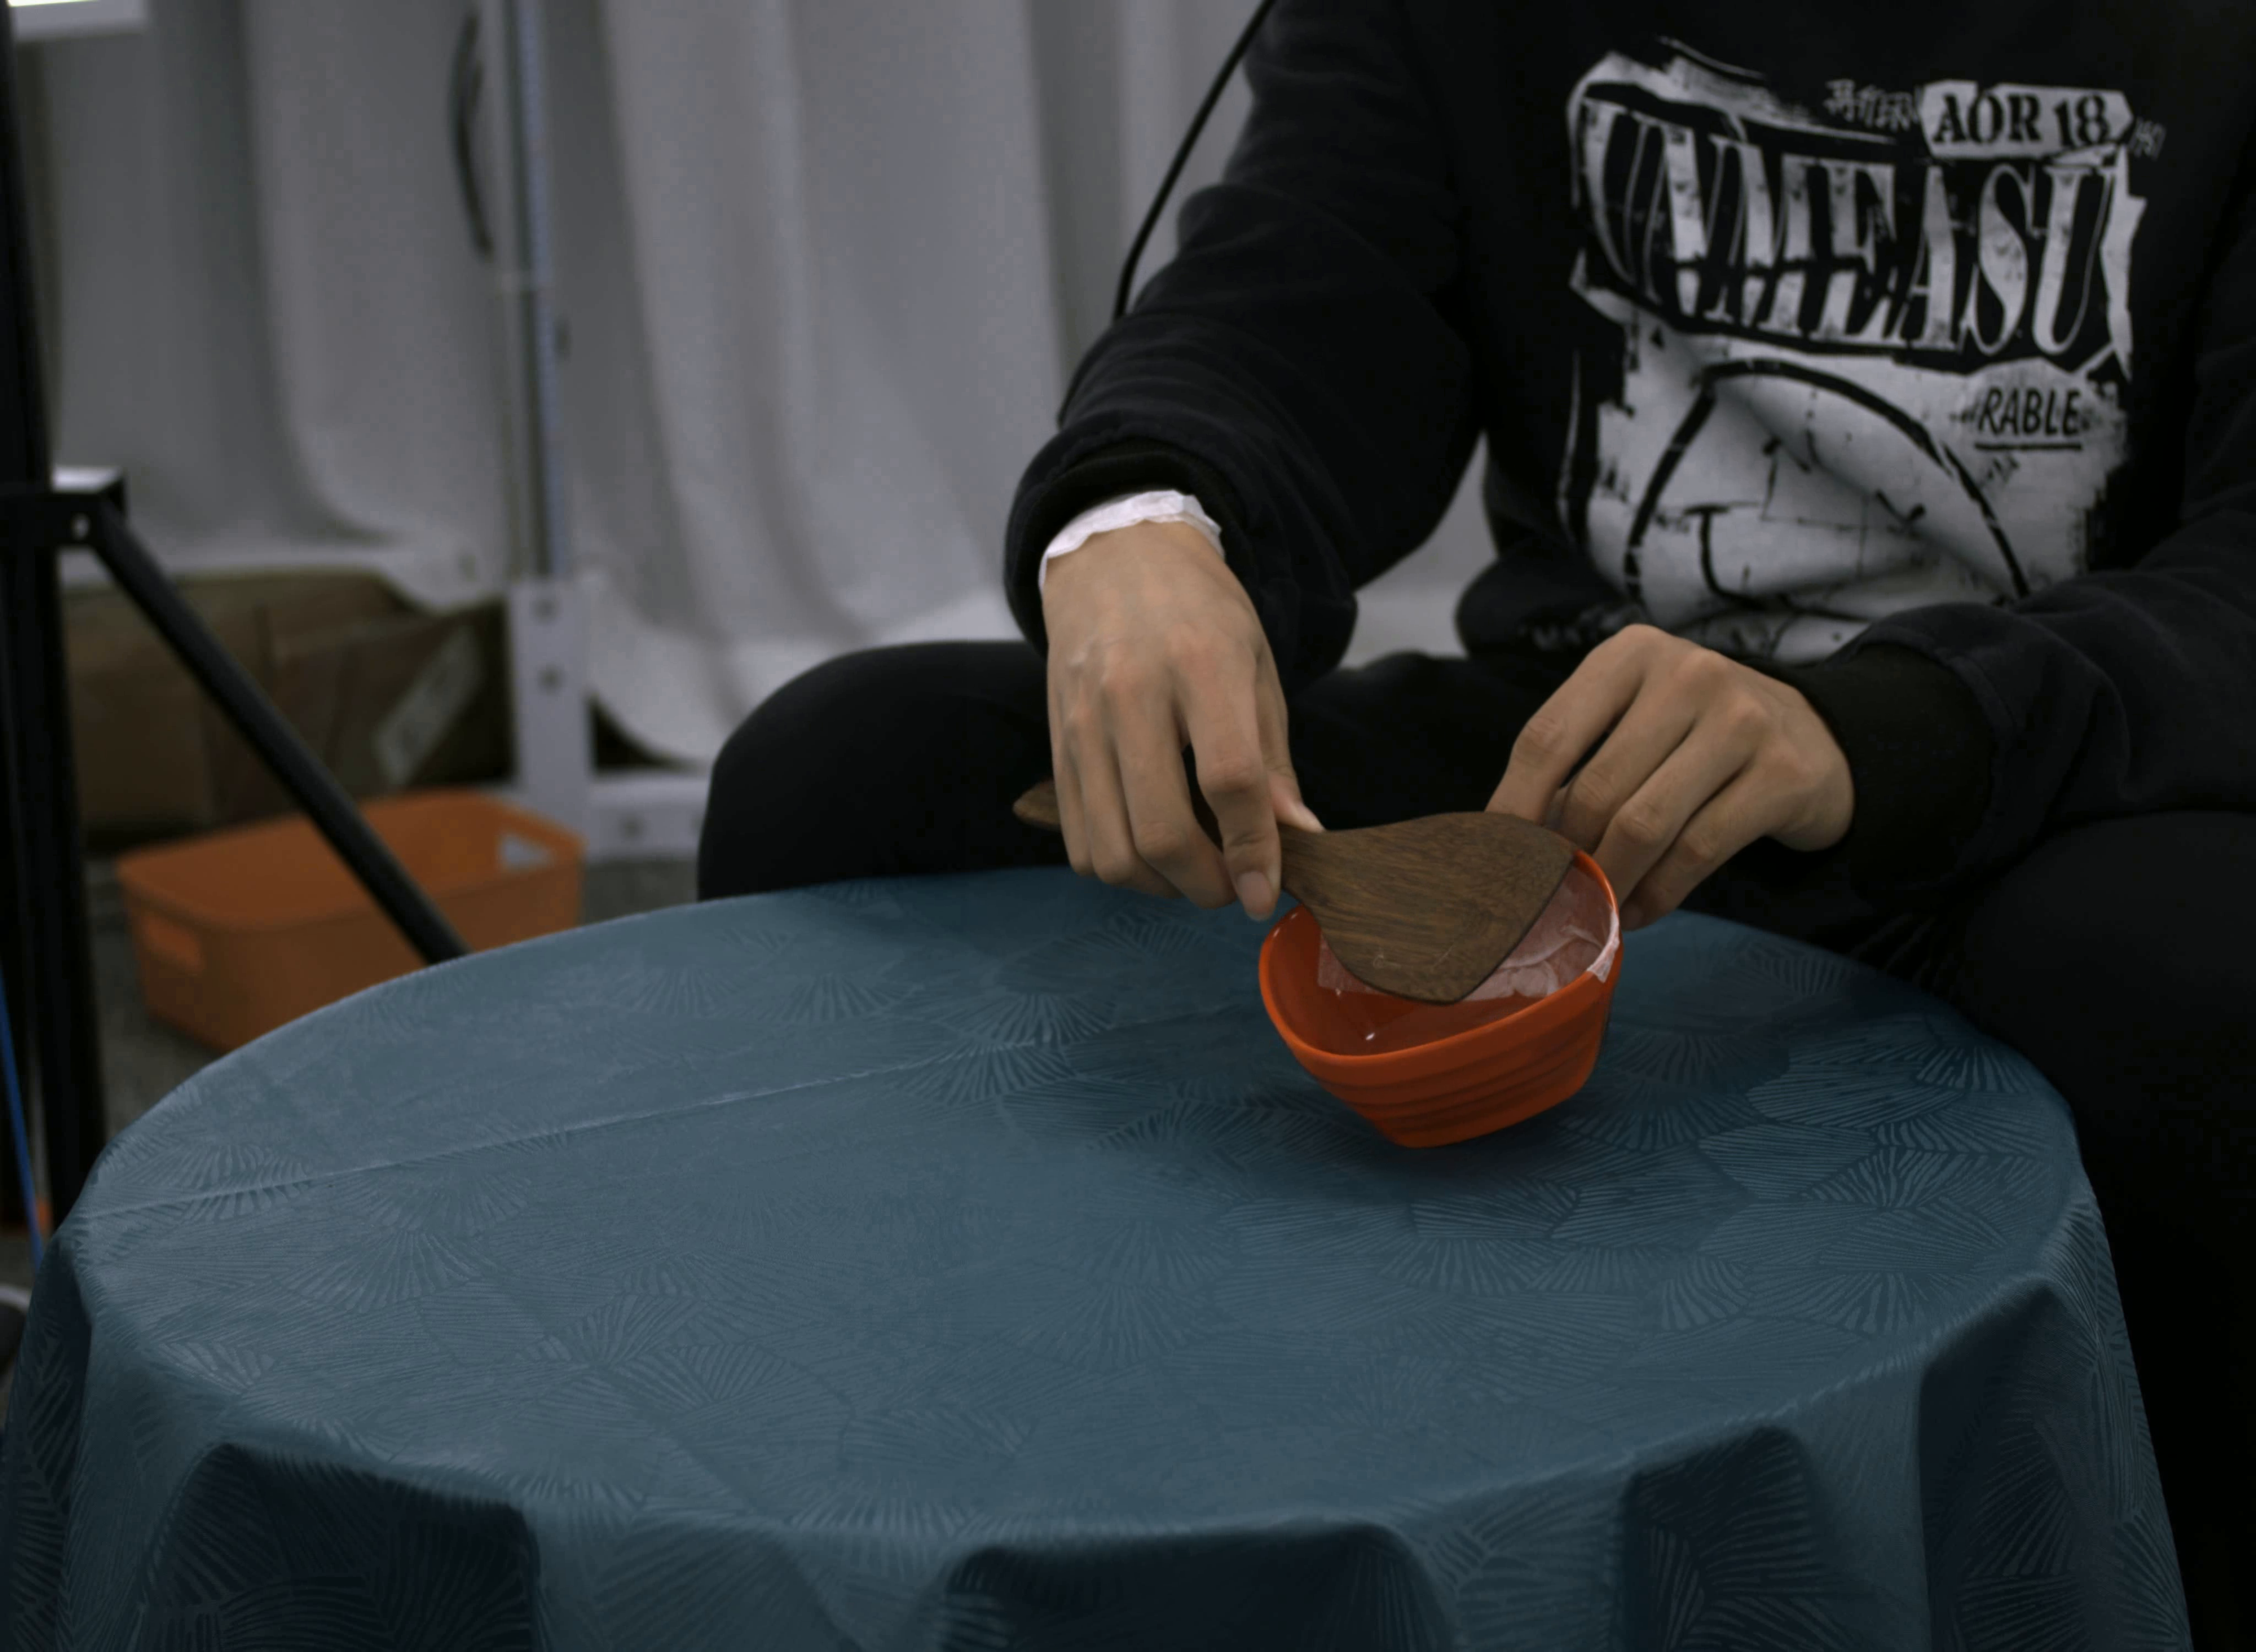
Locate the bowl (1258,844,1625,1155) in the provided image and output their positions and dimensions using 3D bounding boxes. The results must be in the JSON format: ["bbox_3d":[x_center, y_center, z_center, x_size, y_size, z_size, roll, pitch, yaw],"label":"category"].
[{"bbox_3d":[0.100,0.056,1.596,0.119,0.051,0.120,-17,29,8],"label":"bowl"}]

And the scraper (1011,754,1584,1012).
[{"bbox_3d":[0.045,0.009,1.620,0.216,0.010,0.075,17,58,42],"label":"scraper"}]
